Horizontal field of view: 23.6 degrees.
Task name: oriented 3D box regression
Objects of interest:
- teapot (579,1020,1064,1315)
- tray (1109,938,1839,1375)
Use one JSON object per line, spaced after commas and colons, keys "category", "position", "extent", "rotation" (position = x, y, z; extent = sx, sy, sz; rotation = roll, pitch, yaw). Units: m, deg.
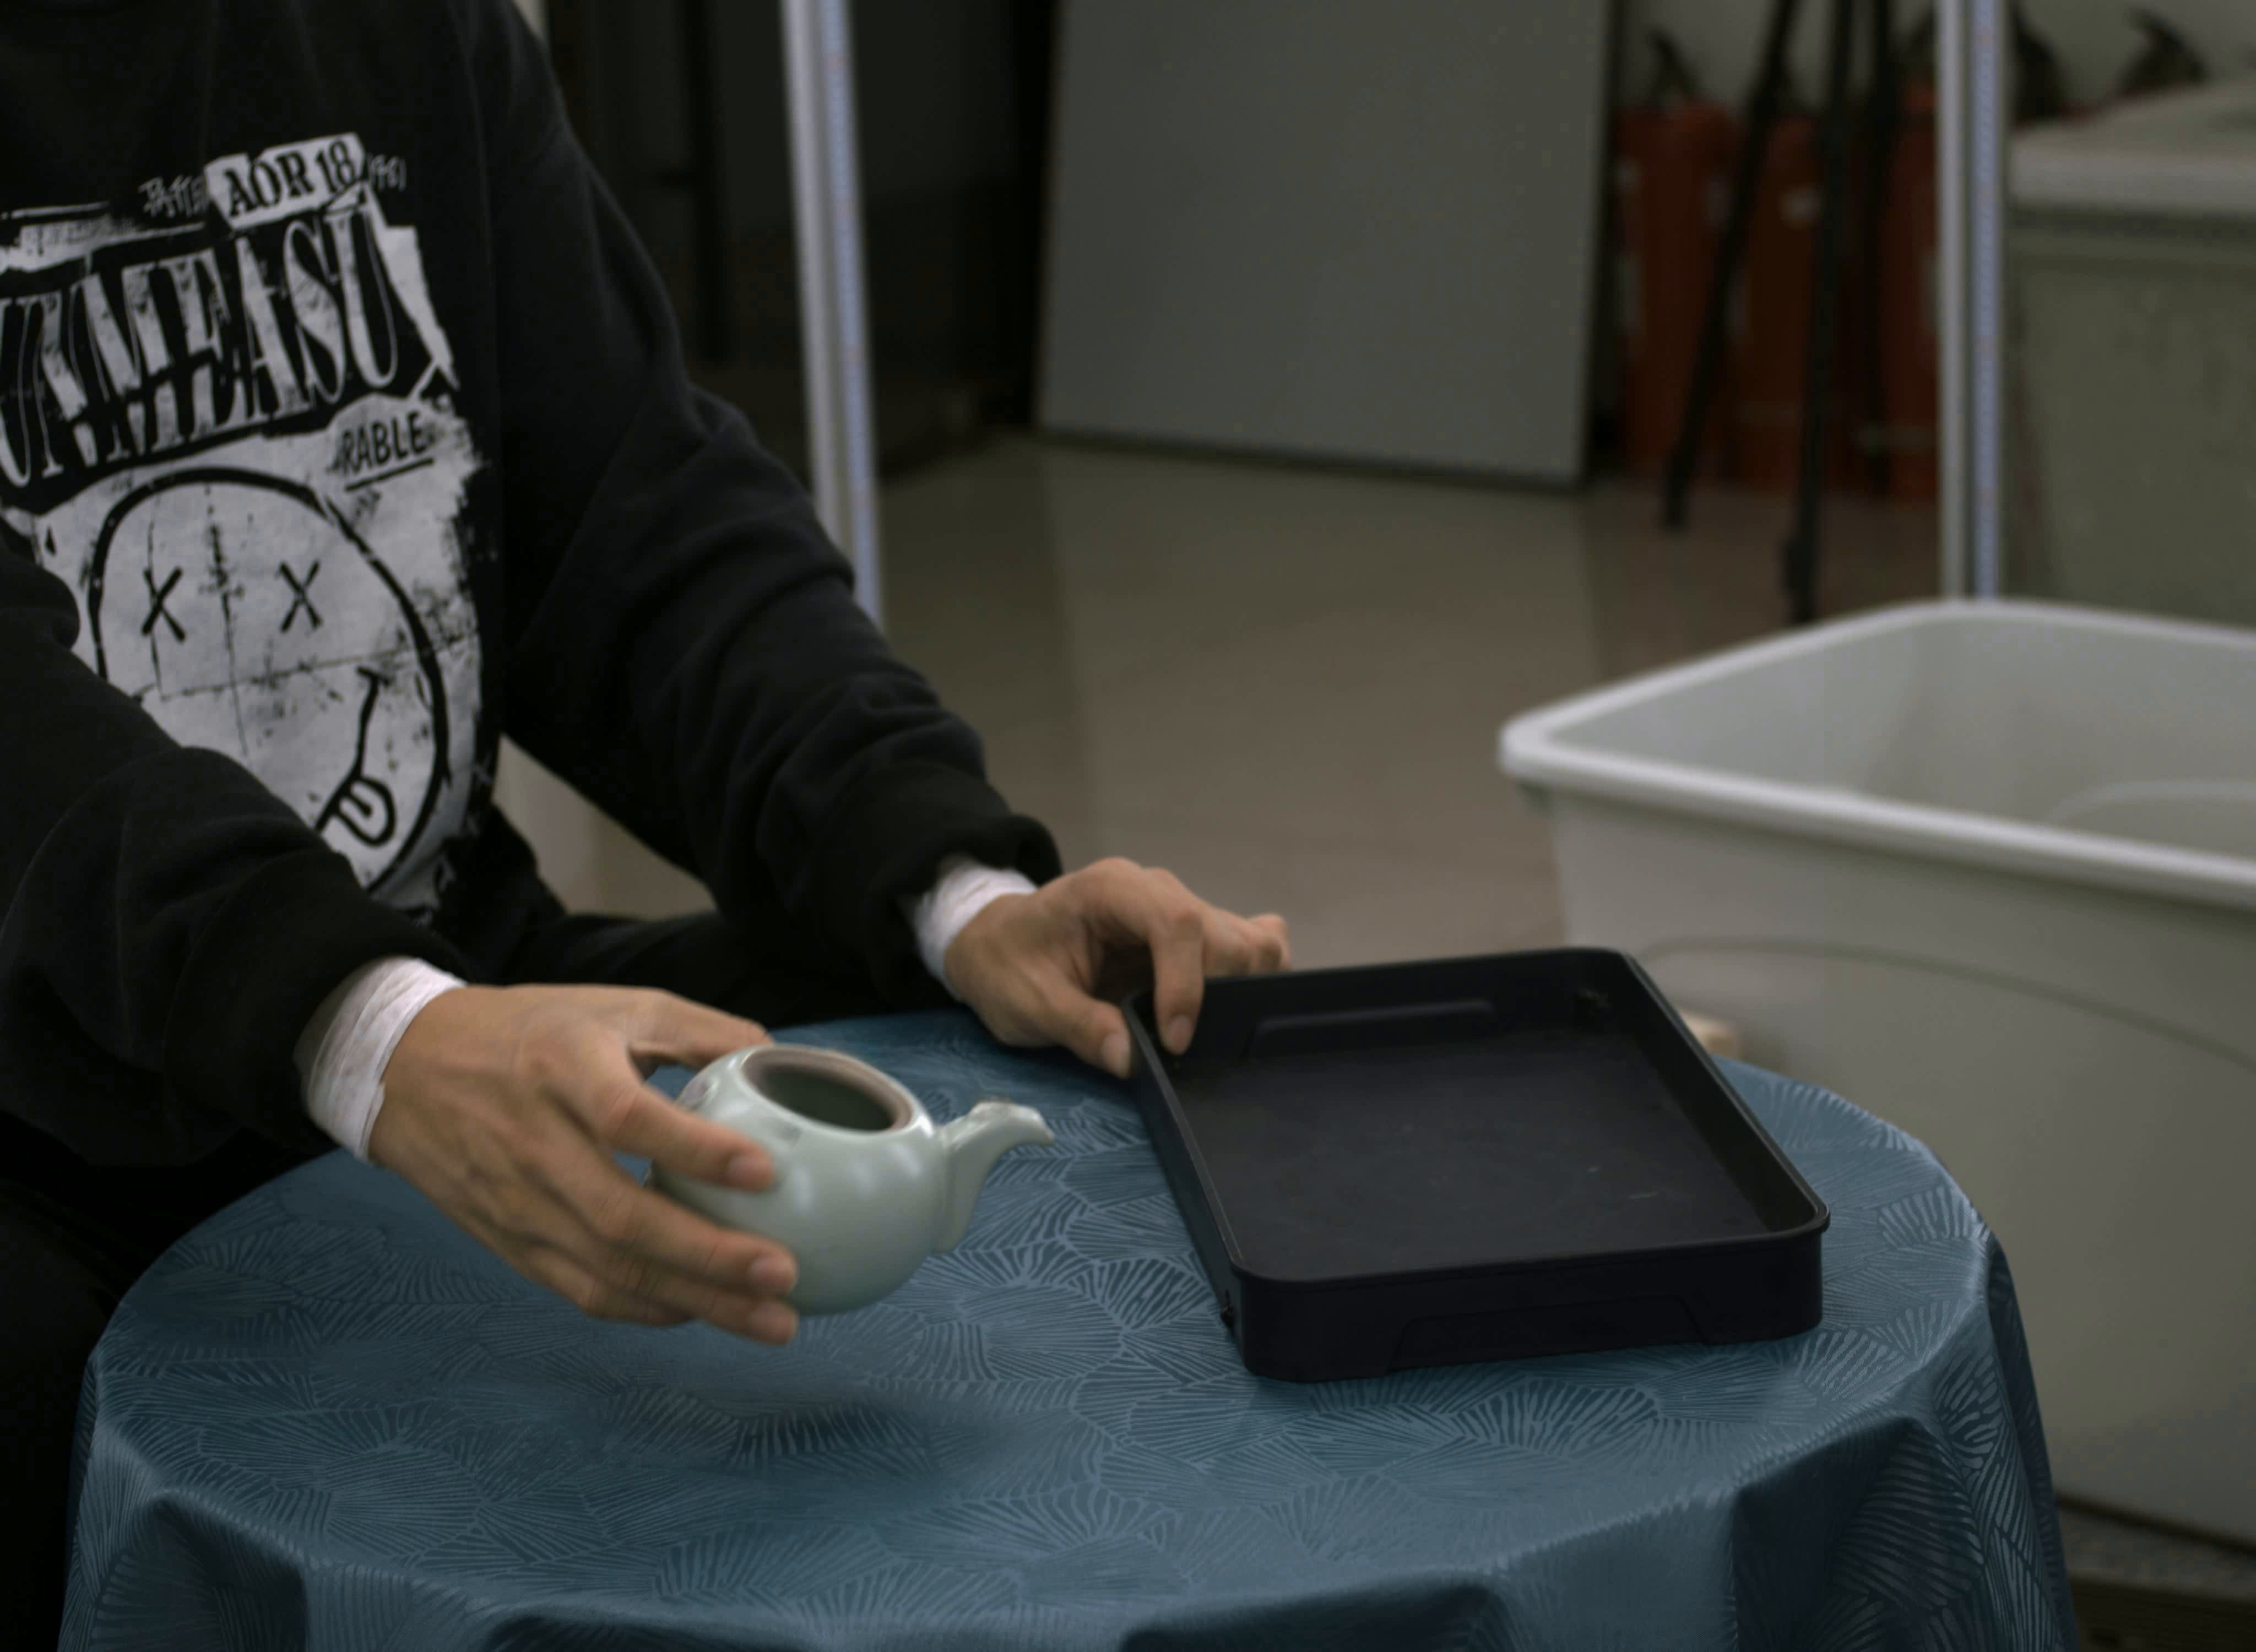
{"category": "teapot", "position": [-0.093, 0.101, 1.579], "extent": [0.141, 0.075, 0.089], "rotation": [11, 18, -14]}
{"category": "tray", "position": [0.104, 0.101, 1.740], "extent": [0.181, 0.037, 0.319], "rotation": [-6, 15, -7]}
